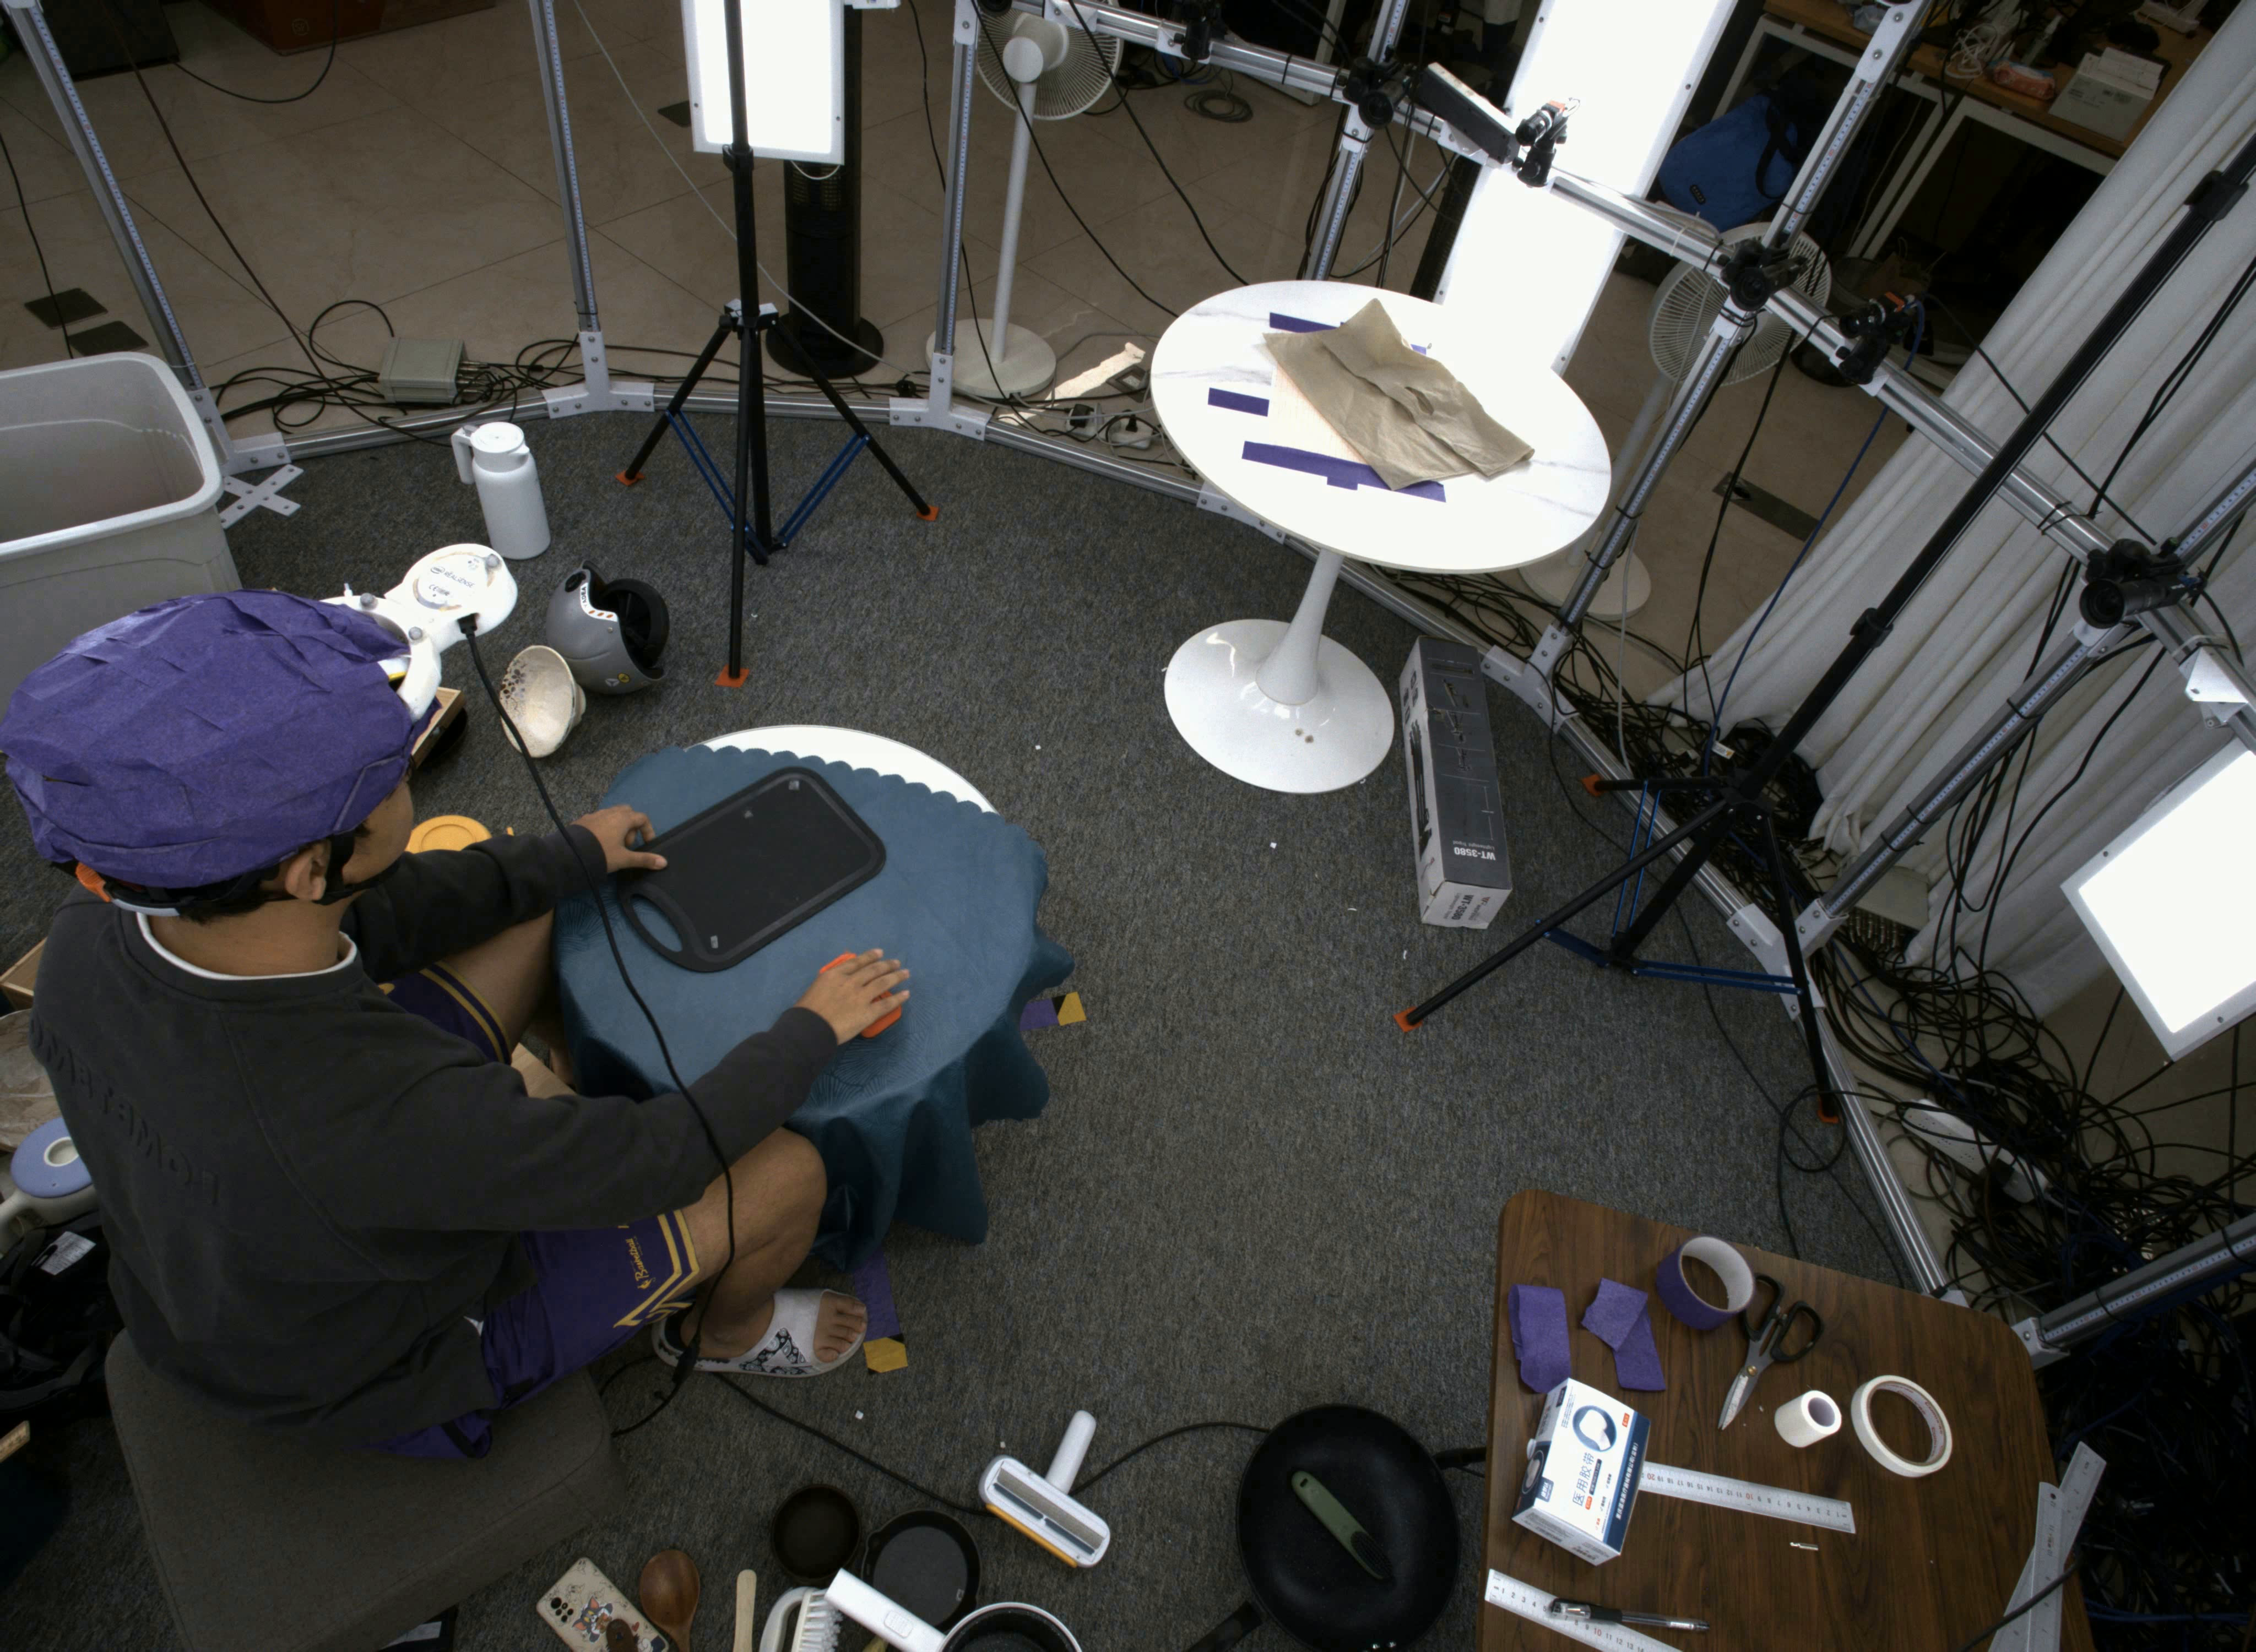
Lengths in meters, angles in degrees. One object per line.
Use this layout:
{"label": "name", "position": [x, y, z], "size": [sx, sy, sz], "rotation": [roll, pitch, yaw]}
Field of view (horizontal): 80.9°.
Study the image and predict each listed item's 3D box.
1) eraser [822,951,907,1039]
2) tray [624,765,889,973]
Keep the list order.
{"label": "eraser", "position": [-0.322, 0.203, 1.585], "size": [0.105, 0.023, 0.059], "rotation": [42, 56, 19]}
{"label": "tray", "position": [-0.480, 0.050, 1.661], "size": [0.326, 0.010, 0.207], "rotation": [-35, 74, -33]}
